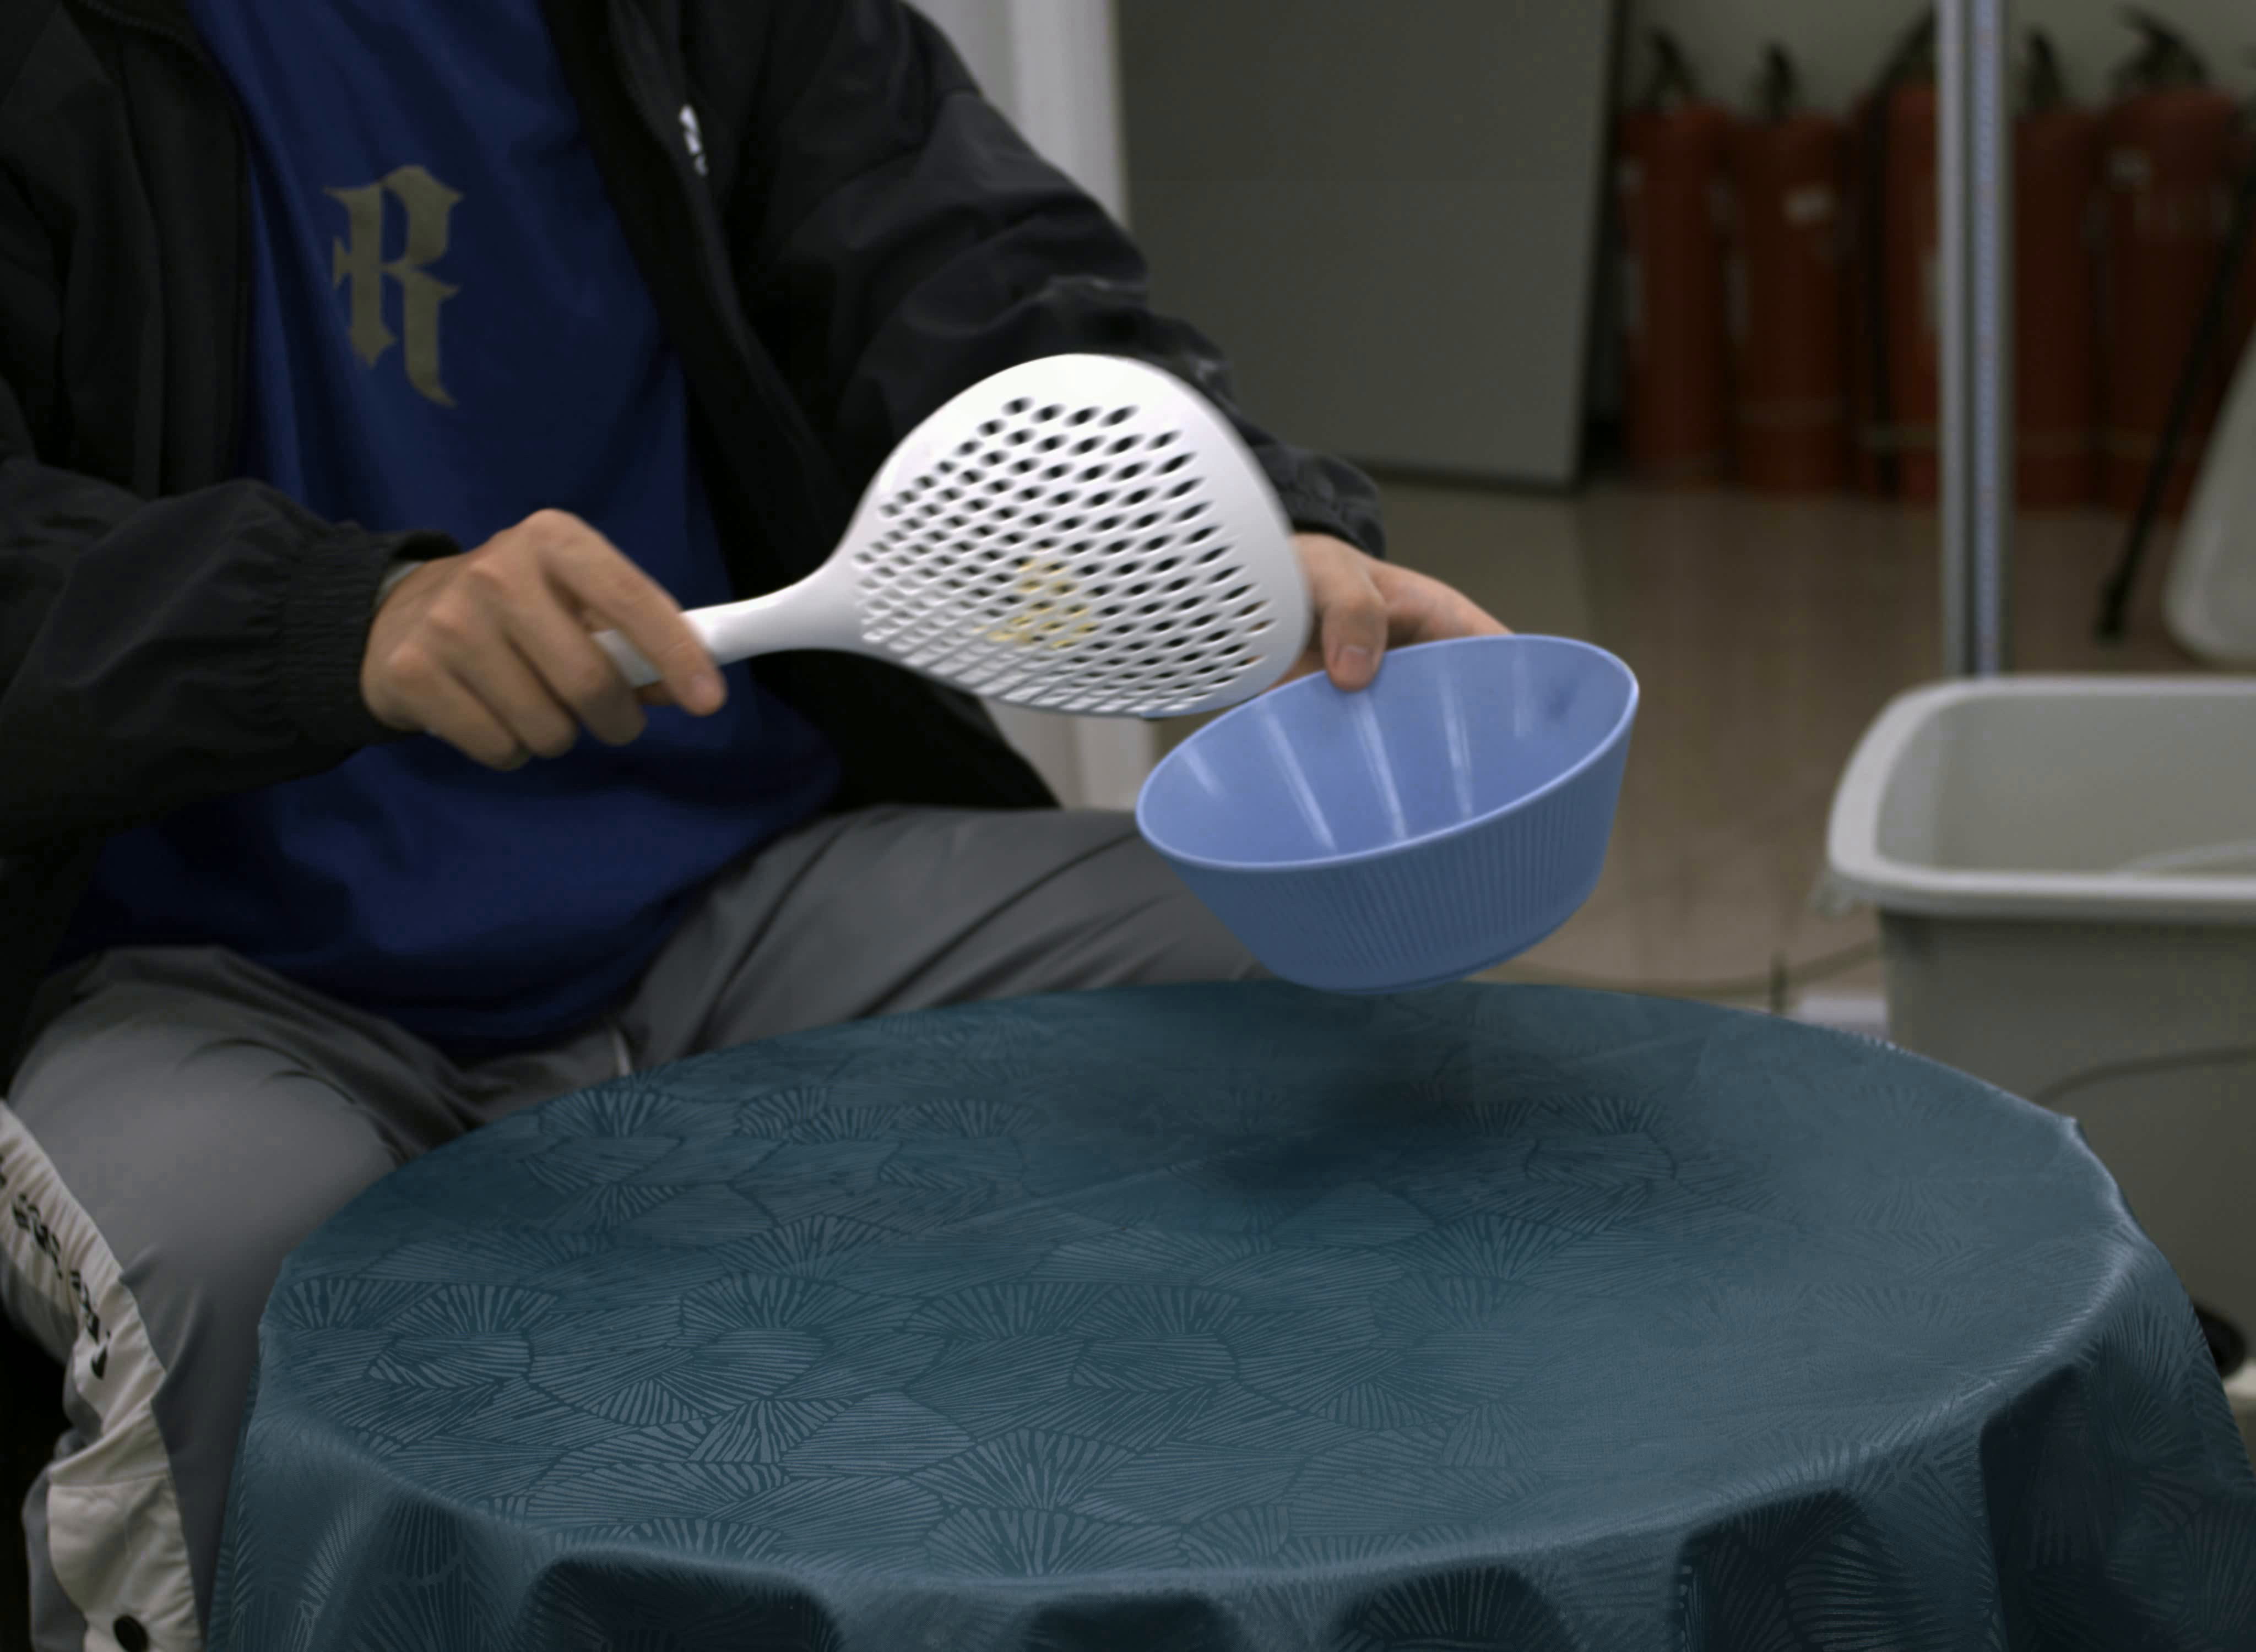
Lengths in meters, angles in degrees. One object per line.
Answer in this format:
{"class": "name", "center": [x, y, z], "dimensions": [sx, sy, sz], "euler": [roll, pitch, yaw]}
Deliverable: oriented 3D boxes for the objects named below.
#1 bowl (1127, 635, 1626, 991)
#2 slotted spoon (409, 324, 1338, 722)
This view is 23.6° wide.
{"class": "bowl", "center": [0.091, 0.001, 1.820], "dimensions": [0.174, 0.070, 0.176], "euler": [-16, 20, 5]}
{"class": "slotted spoon", "center": [-0.092, -0.071, 1.777], "dimensions": [0.350, 0.137, 0.050], "euler": [-10, 30, 35]}
